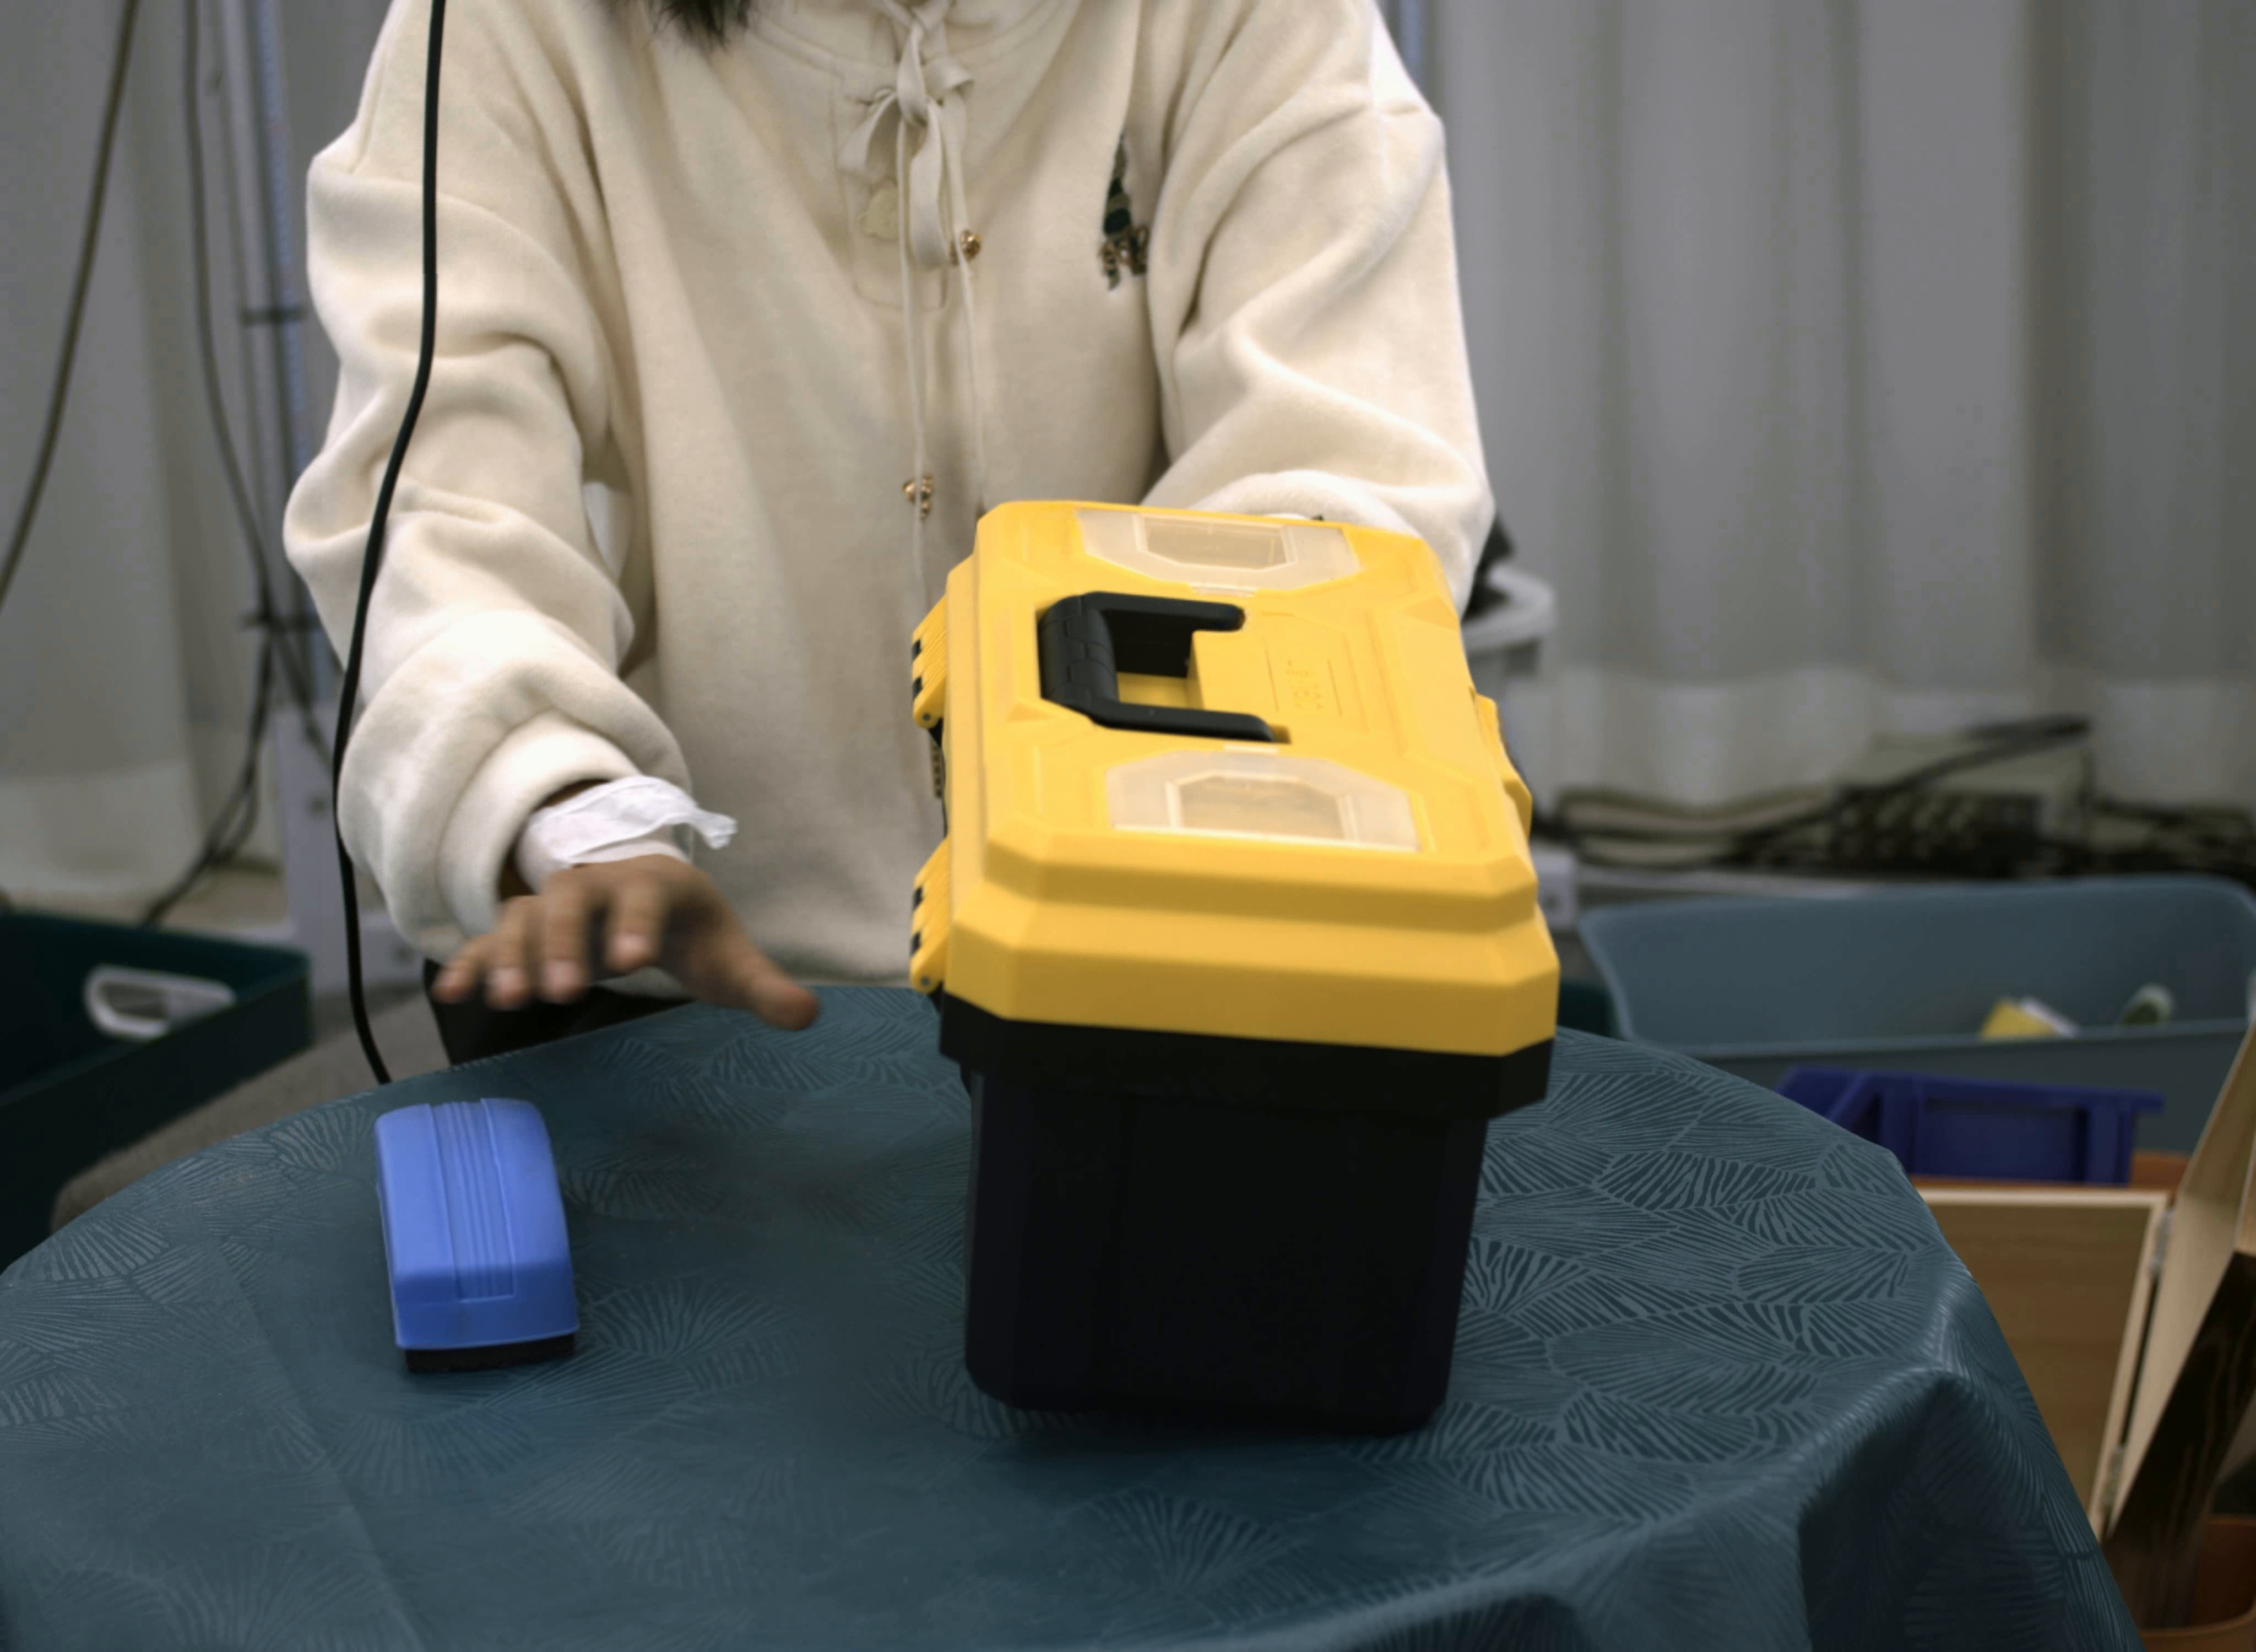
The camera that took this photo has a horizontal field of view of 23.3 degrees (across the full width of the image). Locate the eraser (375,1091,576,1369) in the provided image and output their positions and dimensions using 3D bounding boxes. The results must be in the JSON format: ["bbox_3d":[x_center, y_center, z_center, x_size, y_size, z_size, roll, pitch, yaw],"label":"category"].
[{"bbox_3d":[-0.199,0.116,1.656,0.053,0.047,0.163,-4,16,-9],"label":"eraser"}]

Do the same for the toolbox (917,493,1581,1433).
[{"bbox_3d":[0.025,0.032,1.613,0.180,0.172,0.354,4,19,-3],"label":"toolbox"}]
